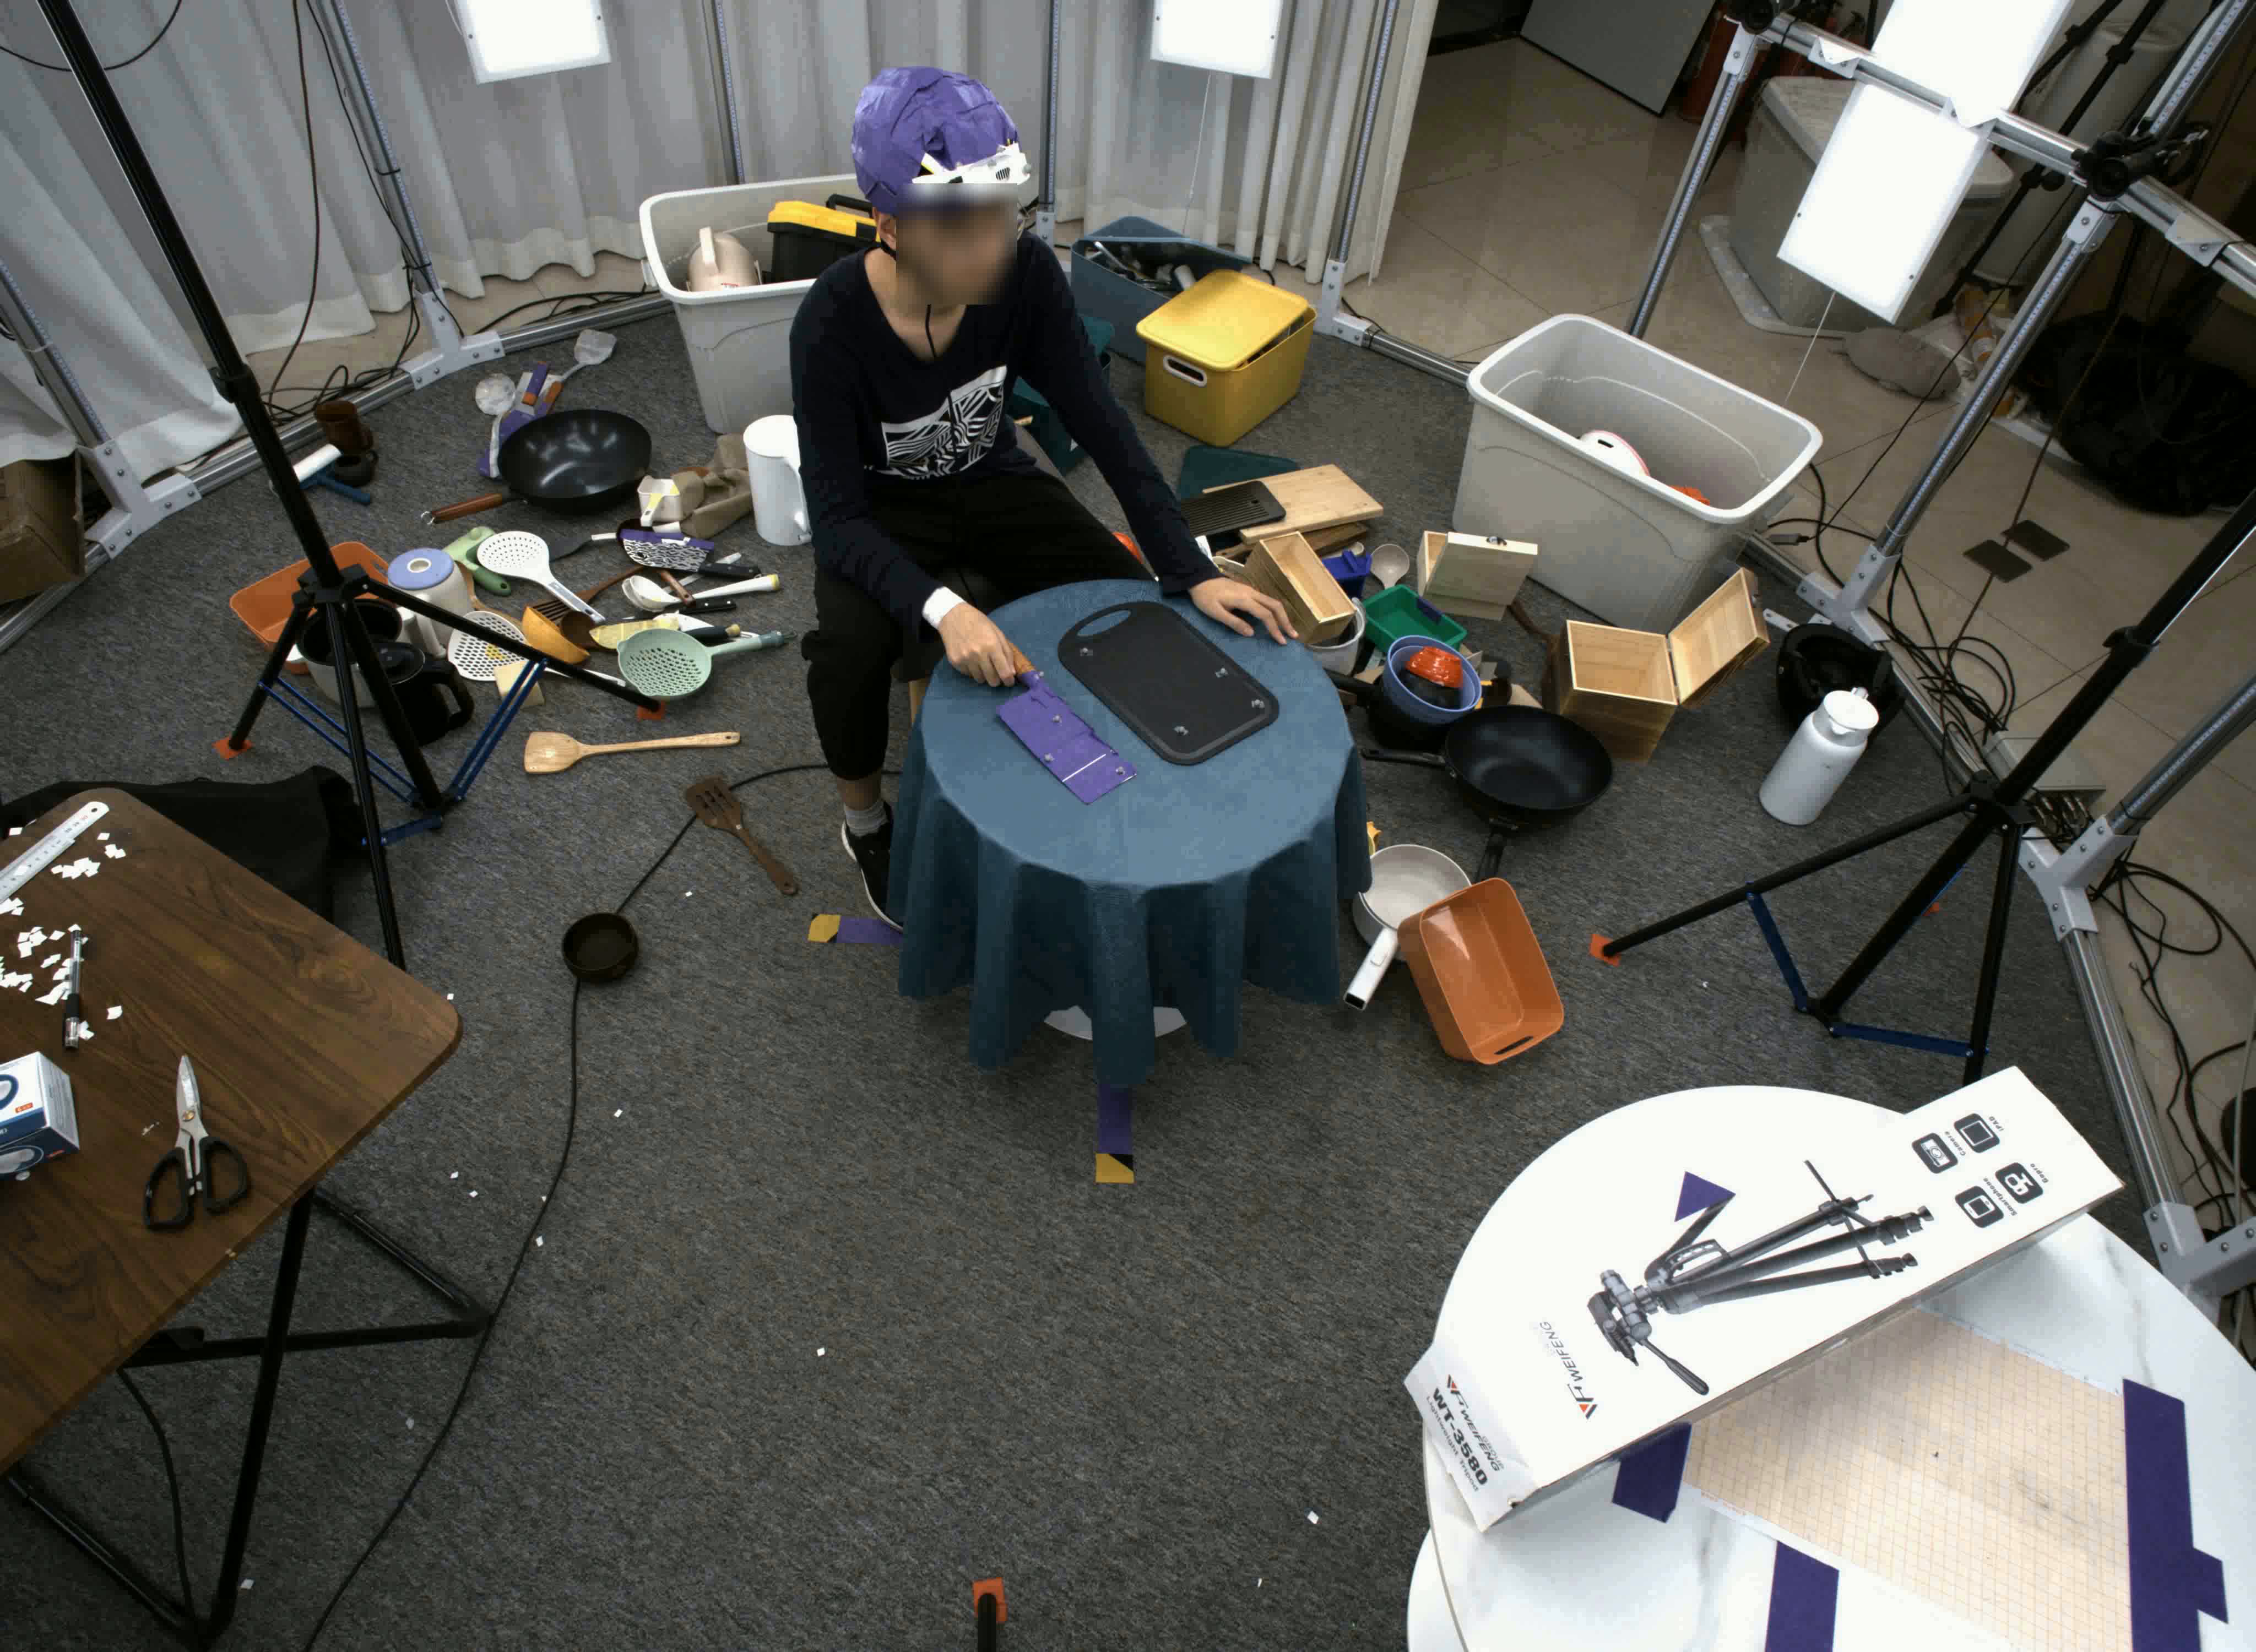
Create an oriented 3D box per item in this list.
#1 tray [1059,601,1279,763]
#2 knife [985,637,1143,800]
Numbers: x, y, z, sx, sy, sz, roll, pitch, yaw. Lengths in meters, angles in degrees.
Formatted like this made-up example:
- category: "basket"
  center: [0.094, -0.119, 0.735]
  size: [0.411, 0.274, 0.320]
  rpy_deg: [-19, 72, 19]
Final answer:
- category: "tray"
  center: [0.051, -0.220, 1.857]
  size: [0.212, 0.009, 0.331]
  rpy_deg: [-29, 56, -26]
- category: "knife"
  center: [-0.117, -0.152, 1.774]
  size: [0.104, 0.031, 0.320]
  rpy_deg: [-31, 58, -27]
